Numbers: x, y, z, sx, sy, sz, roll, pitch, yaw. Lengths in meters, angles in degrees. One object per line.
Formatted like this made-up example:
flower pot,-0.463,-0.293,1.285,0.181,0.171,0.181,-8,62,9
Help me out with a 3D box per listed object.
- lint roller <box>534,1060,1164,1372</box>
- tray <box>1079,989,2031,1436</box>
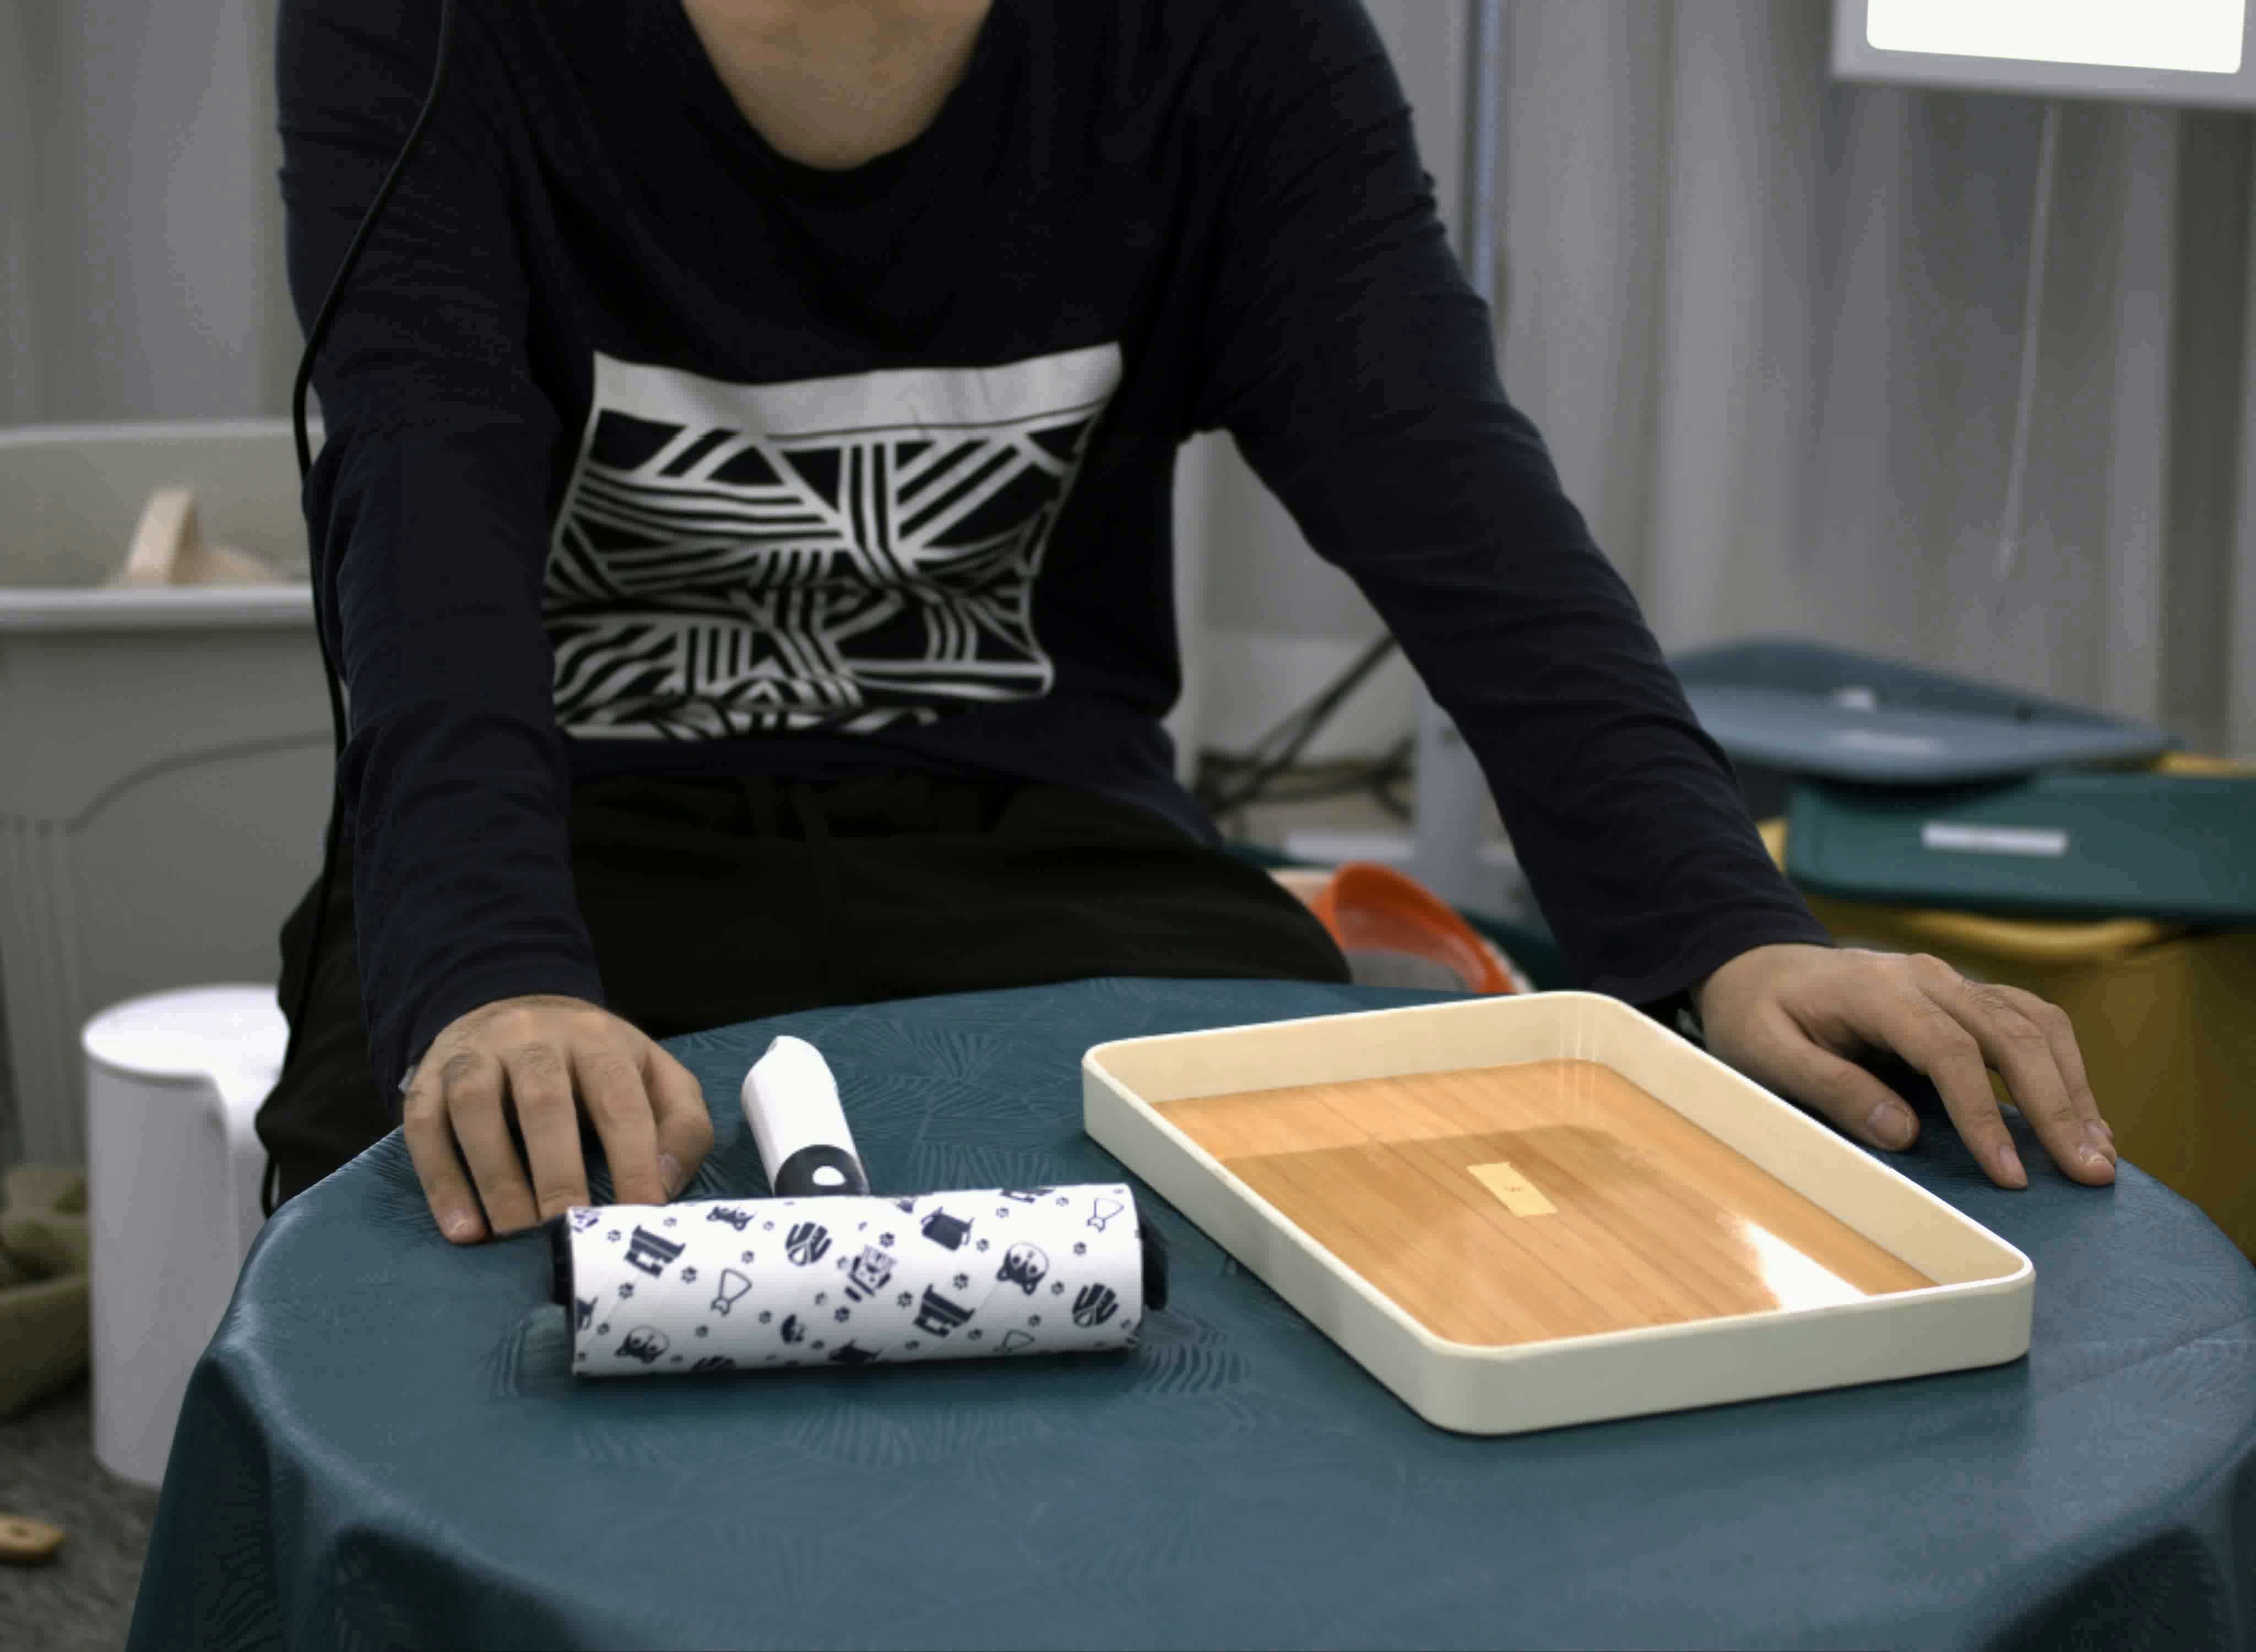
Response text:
lint roller,-0.096,0.103,1.574,0.176,0.051,0.245,-3,14,-10
tray,0.120,0.110,1.585,0.192,0.027,0.297,-5,16,-20
